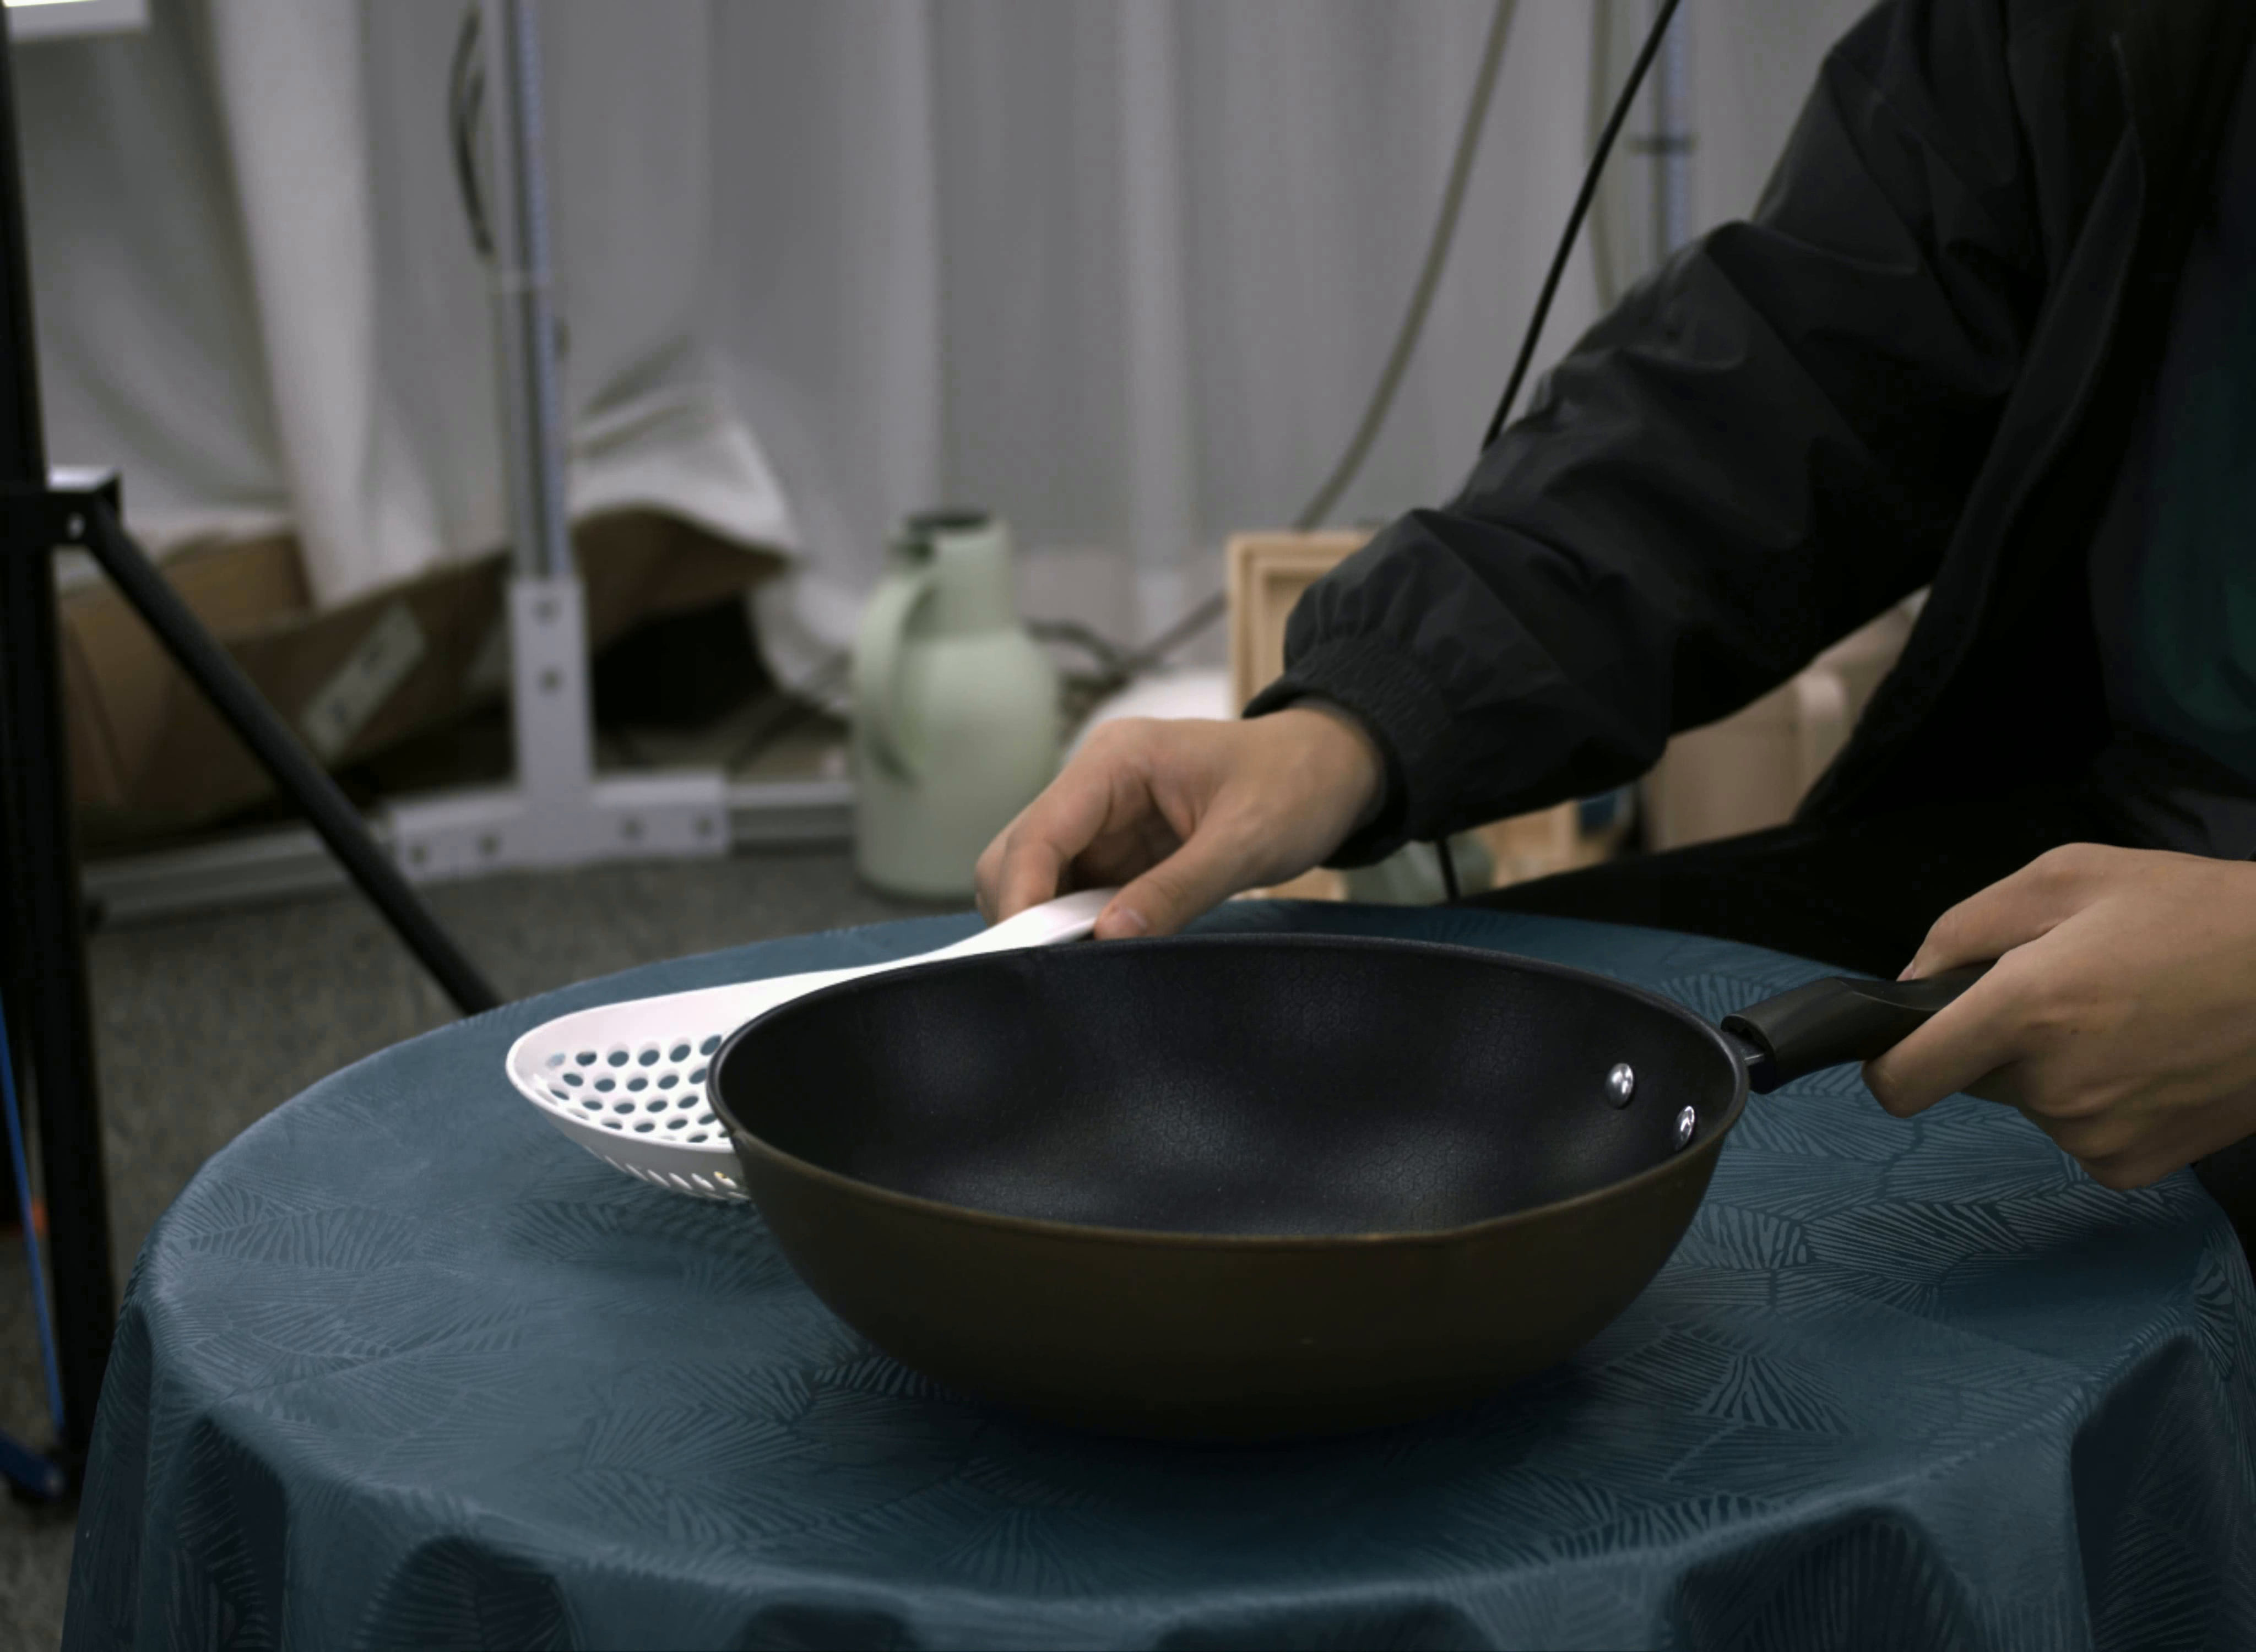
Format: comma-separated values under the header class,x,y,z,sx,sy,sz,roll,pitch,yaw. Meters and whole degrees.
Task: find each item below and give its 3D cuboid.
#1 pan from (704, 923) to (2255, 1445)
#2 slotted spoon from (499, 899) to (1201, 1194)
class,x,y,z,sx,sy,sz,roll,pitch,yaw
pan,0.111,0.093,1.447,0.455,0.087,0.293,-5,15,-19
slotted spoon,-0.060,0.056,1.666,0.139,0.050,0.341,10,21,30
